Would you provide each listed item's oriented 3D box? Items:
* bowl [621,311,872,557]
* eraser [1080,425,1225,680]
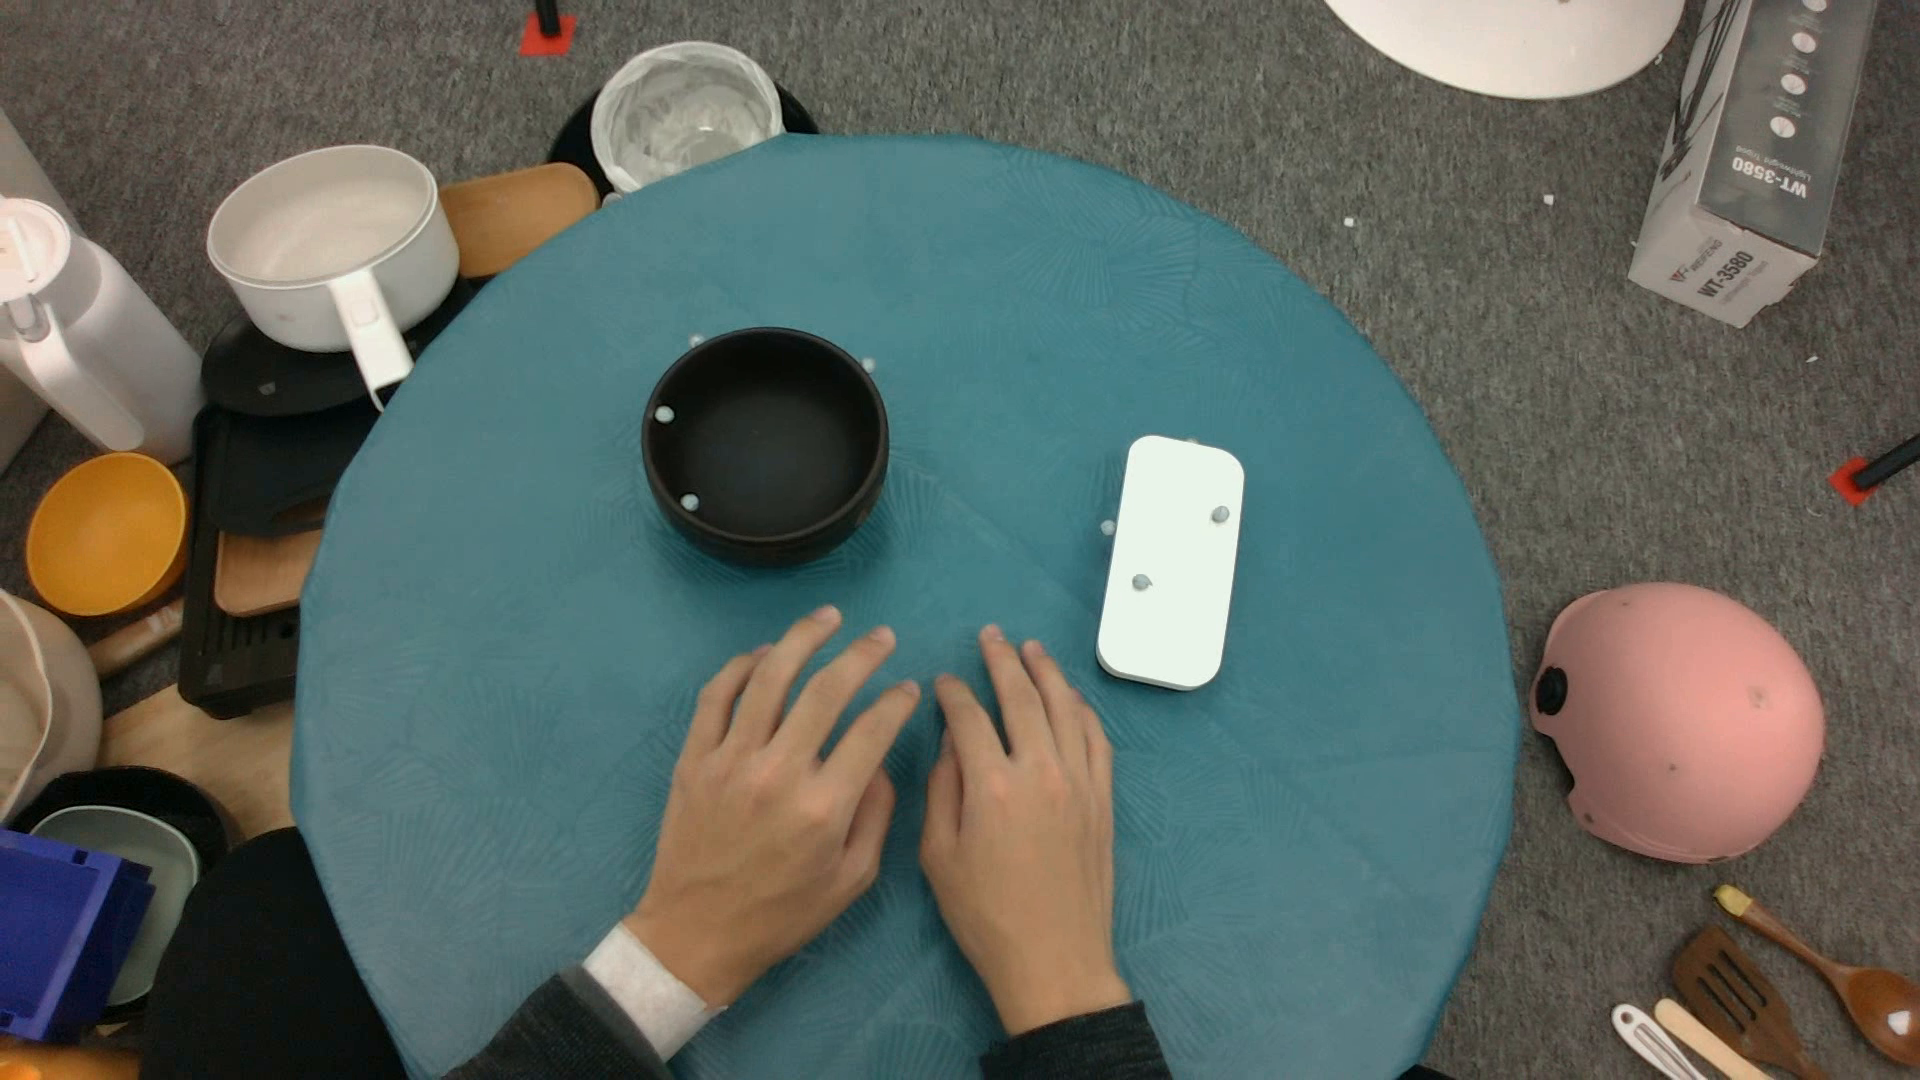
[{"bbox_3d":[-0.102,-0.046,0.672,0.118,0.069,0.118,2,68,-6],"label":"bowl"},{"bbox_3d":[0.096,0.004,0.695,0.063,0.034,0.132,12,66,0],"label":"eraser"}]
